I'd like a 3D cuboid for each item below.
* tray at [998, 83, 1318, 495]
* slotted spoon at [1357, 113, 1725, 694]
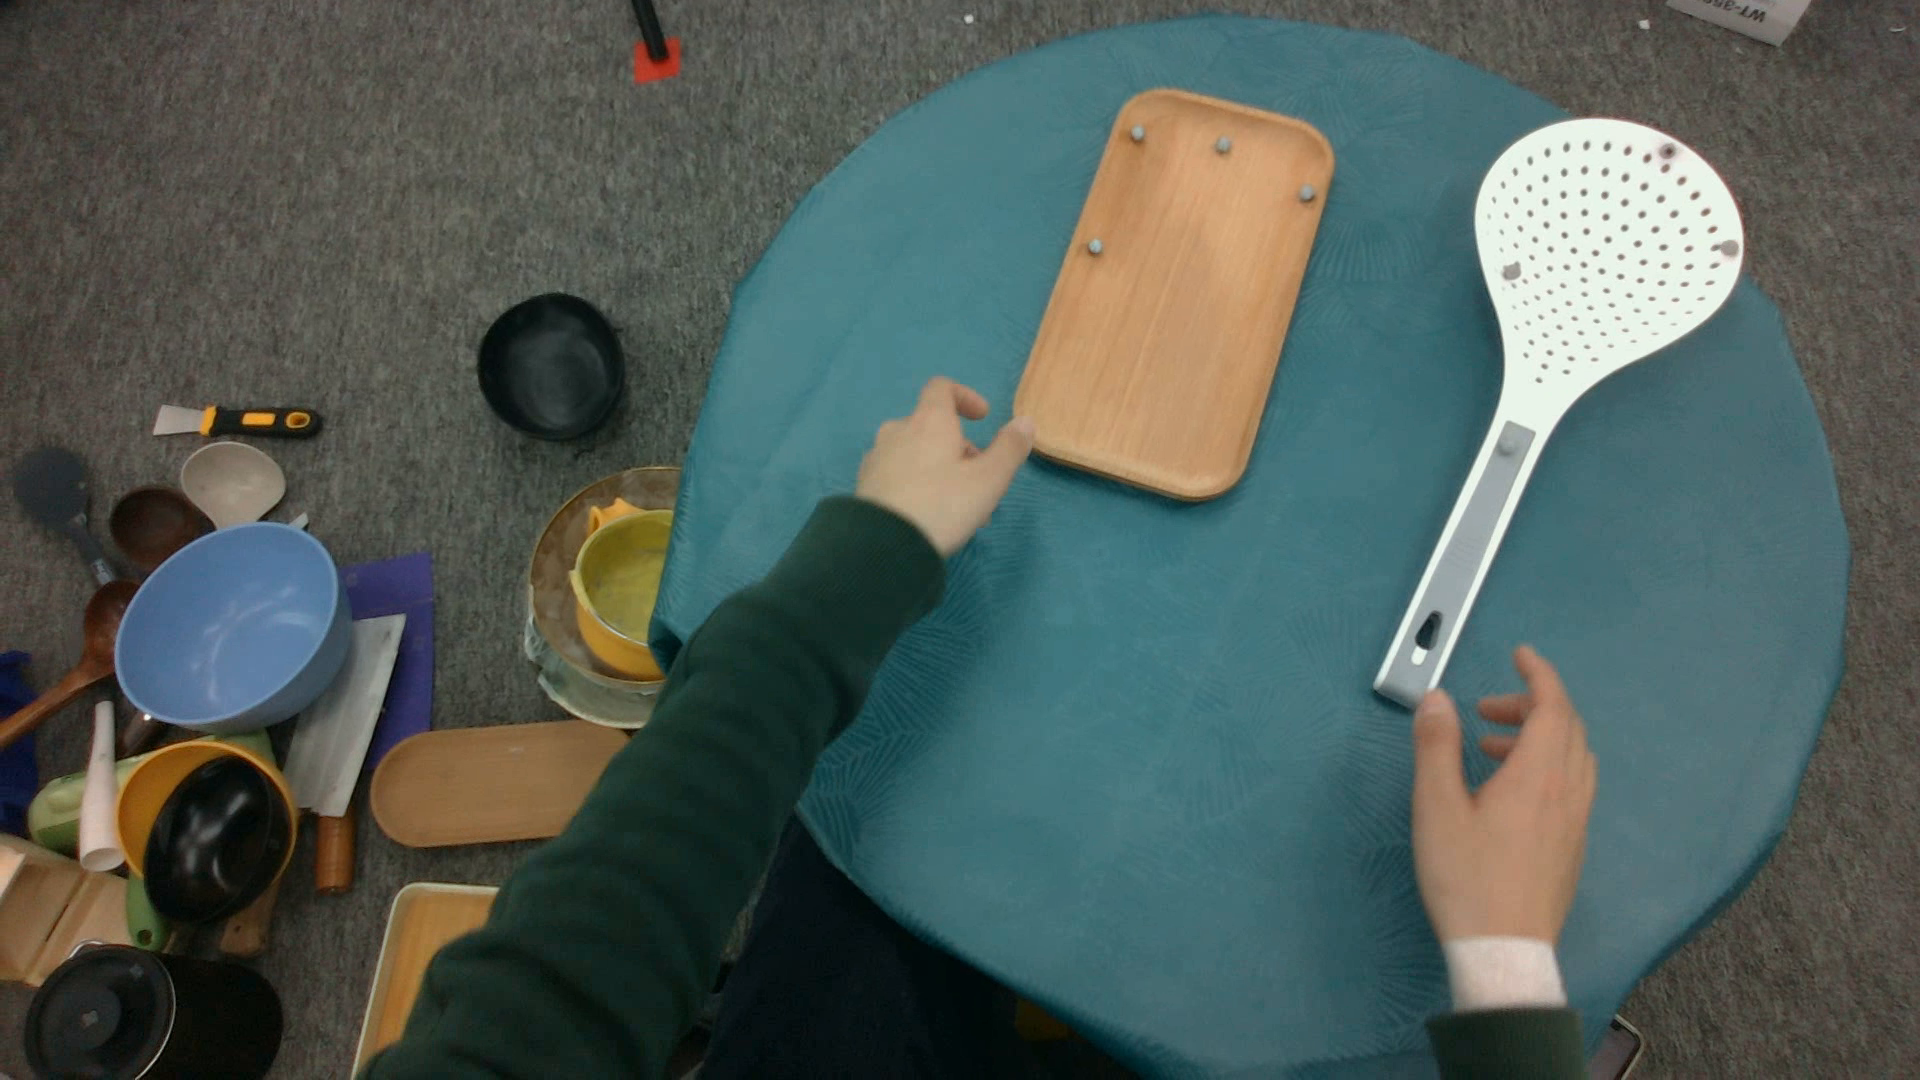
[{"bbox_3d":[0.113,-0.144,0.761,0.130,0.023,0.251,17,69,9],"label":"tray"},{"bbox_3d":[0.287,-0.077,0.715,0.136,0.045,0.351,25,70,13],"label":"slotted spoon"}]
